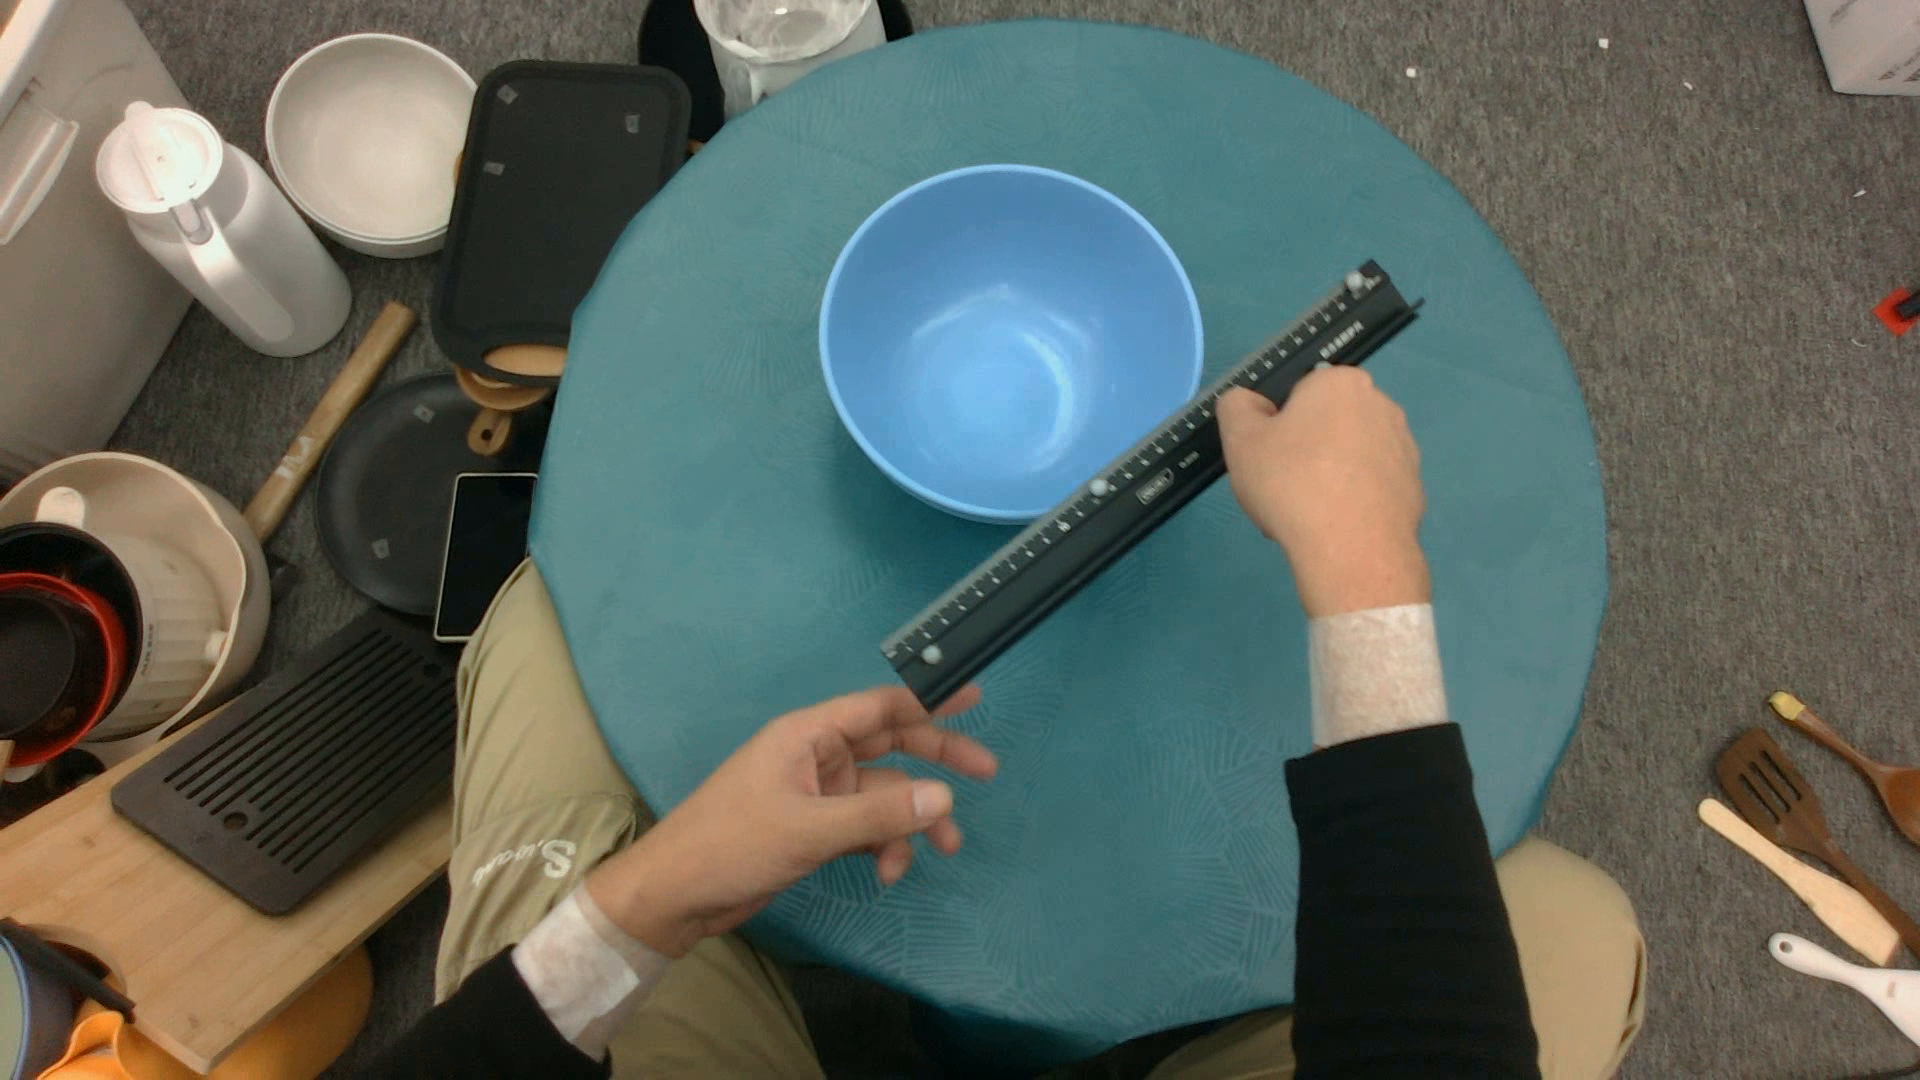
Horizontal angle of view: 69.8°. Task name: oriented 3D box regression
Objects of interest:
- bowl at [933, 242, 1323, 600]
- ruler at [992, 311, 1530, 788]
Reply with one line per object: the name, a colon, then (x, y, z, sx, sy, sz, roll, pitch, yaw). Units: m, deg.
bowl: (0.086, -0.050, 0.737, 0.196, 0.095, 0.197, 0, 69, 1)
ruler: (0.143, -0.004, 0.624, 0.313, 0.017, 0.039, -39, 83, -12)
